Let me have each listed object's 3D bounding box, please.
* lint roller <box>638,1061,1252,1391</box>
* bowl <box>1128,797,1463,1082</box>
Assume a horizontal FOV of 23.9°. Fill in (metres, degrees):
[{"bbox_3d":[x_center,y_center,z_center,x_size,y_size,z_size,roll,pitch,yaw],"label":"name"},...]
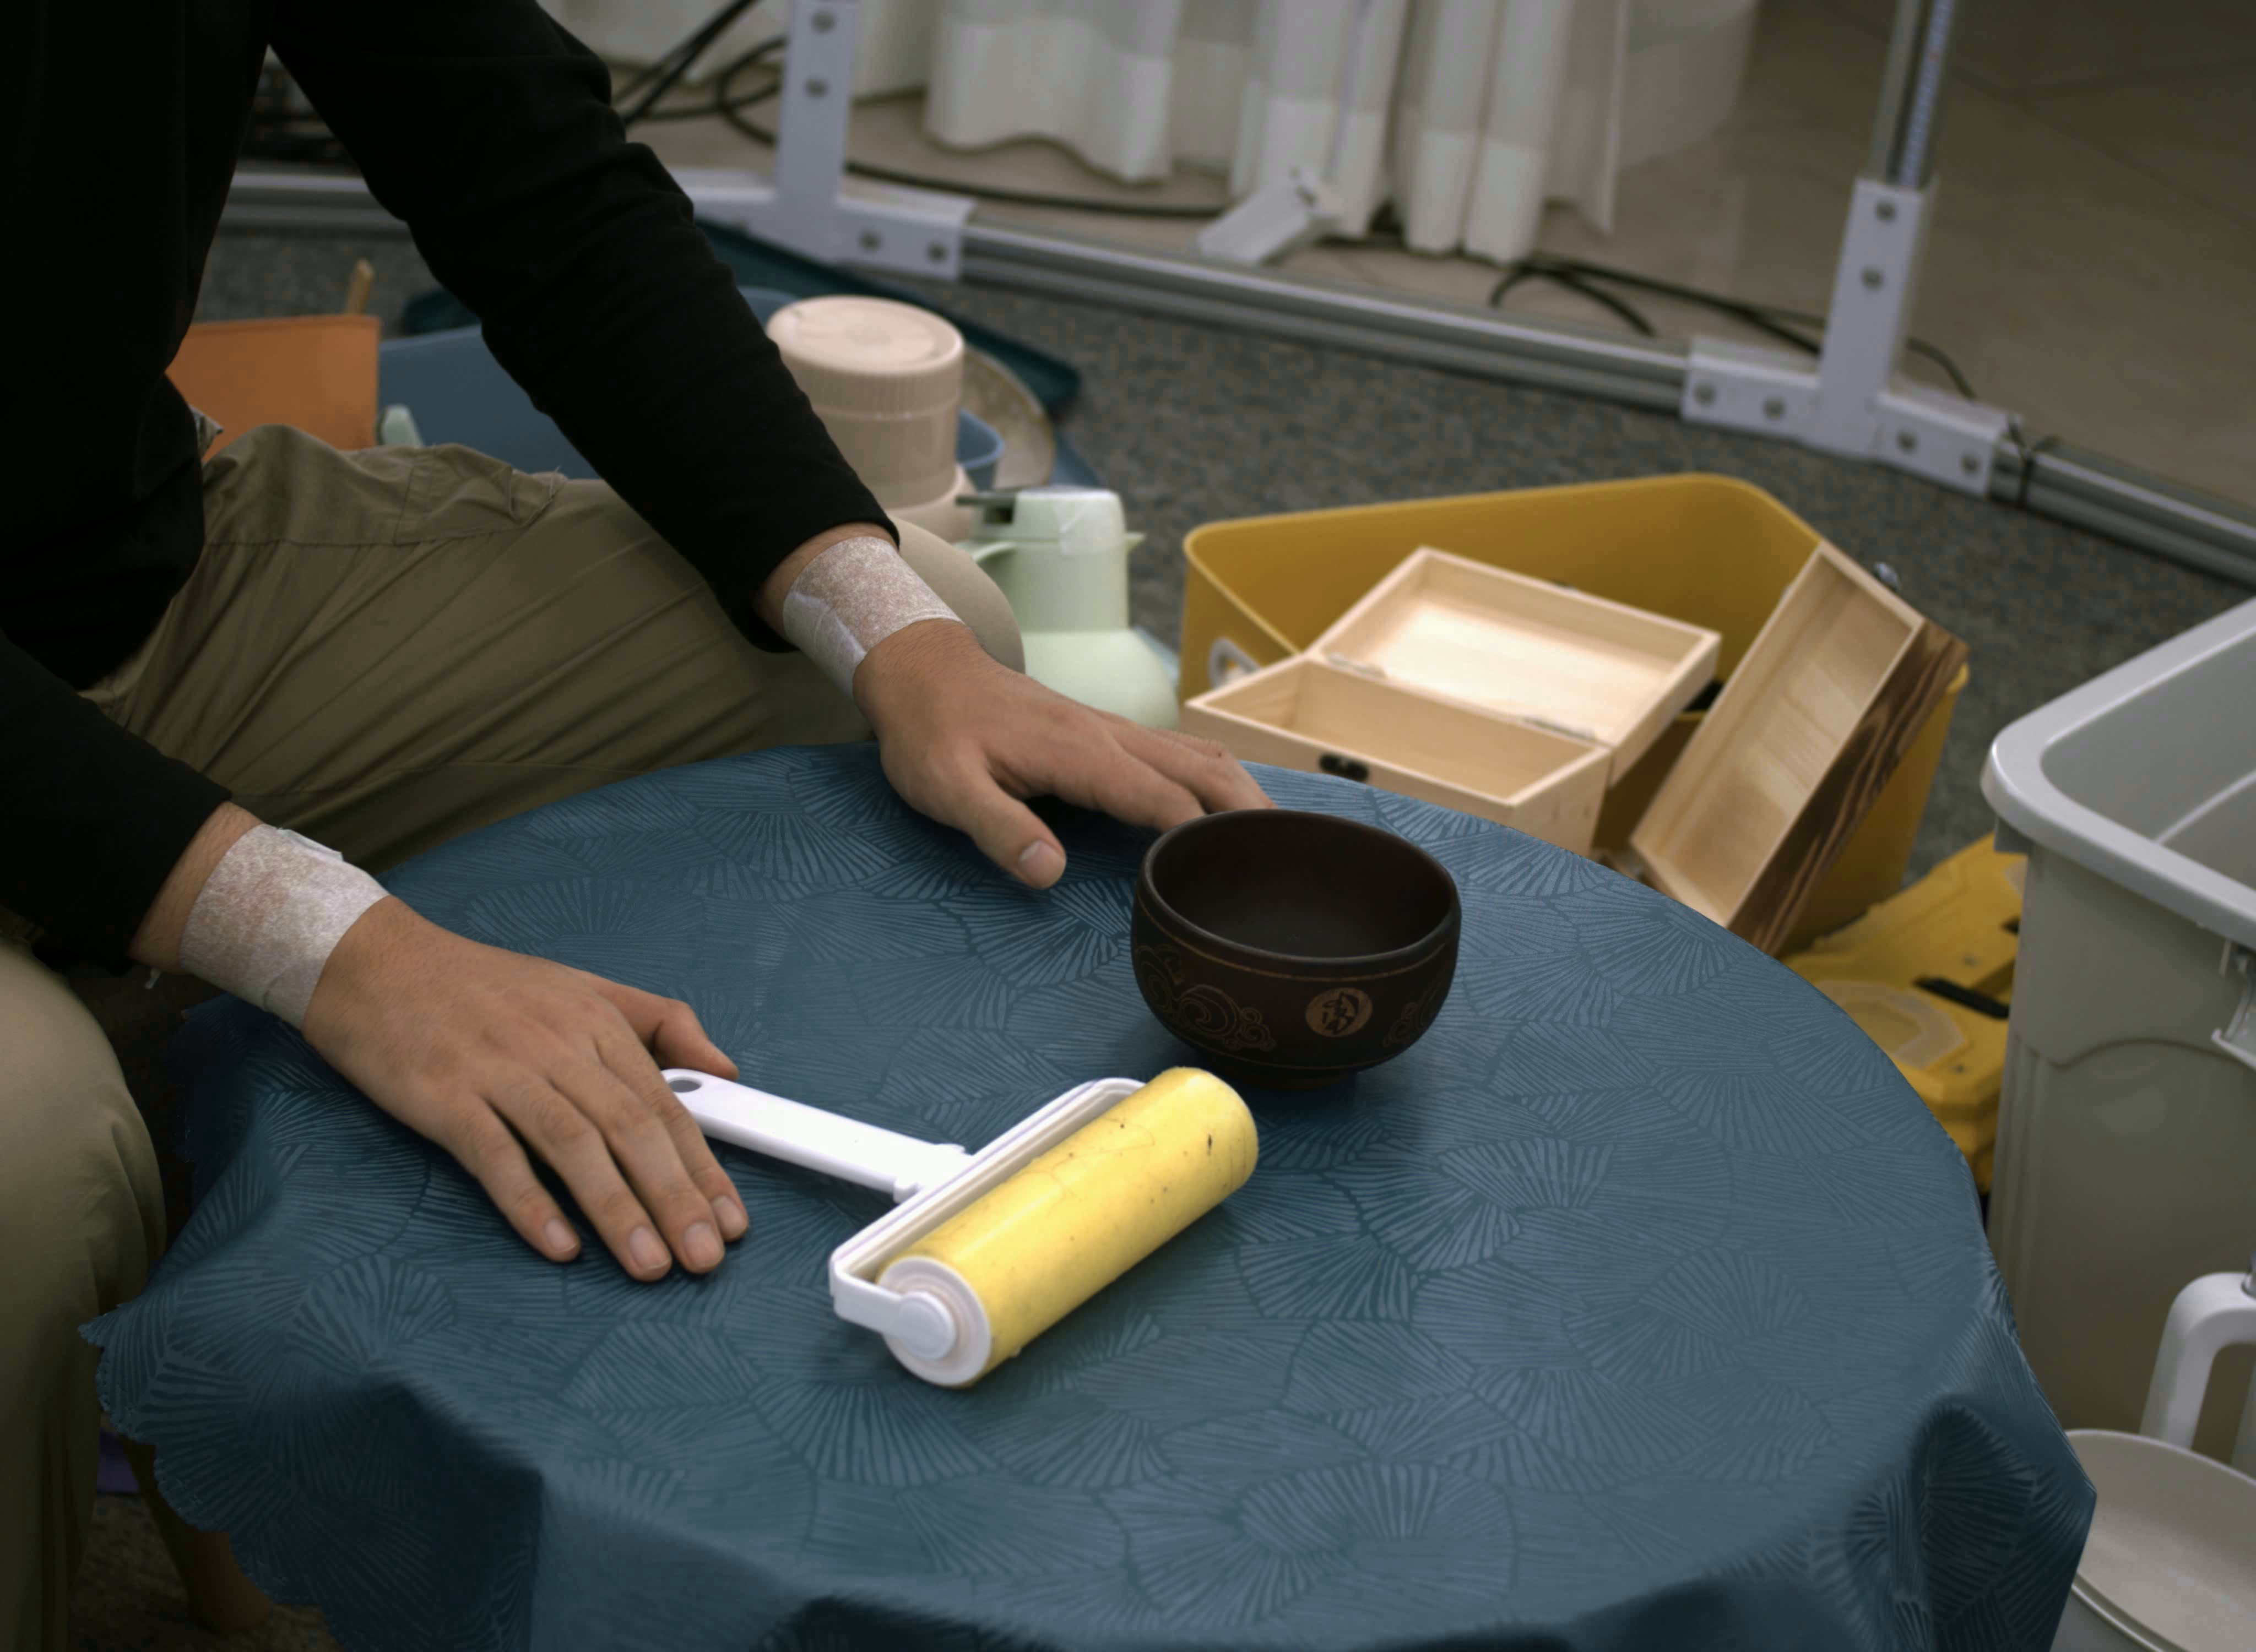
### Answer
[{"bbox_3d":[-0.080,0.105,1.763,0.193,0.051,0.174,25,32,23],"label":"lint roller"},{"bbox_3d":[0.056,0.047,1.882,0.117,0.069,0.119,6,27,-4],"label":"bowl"}]
